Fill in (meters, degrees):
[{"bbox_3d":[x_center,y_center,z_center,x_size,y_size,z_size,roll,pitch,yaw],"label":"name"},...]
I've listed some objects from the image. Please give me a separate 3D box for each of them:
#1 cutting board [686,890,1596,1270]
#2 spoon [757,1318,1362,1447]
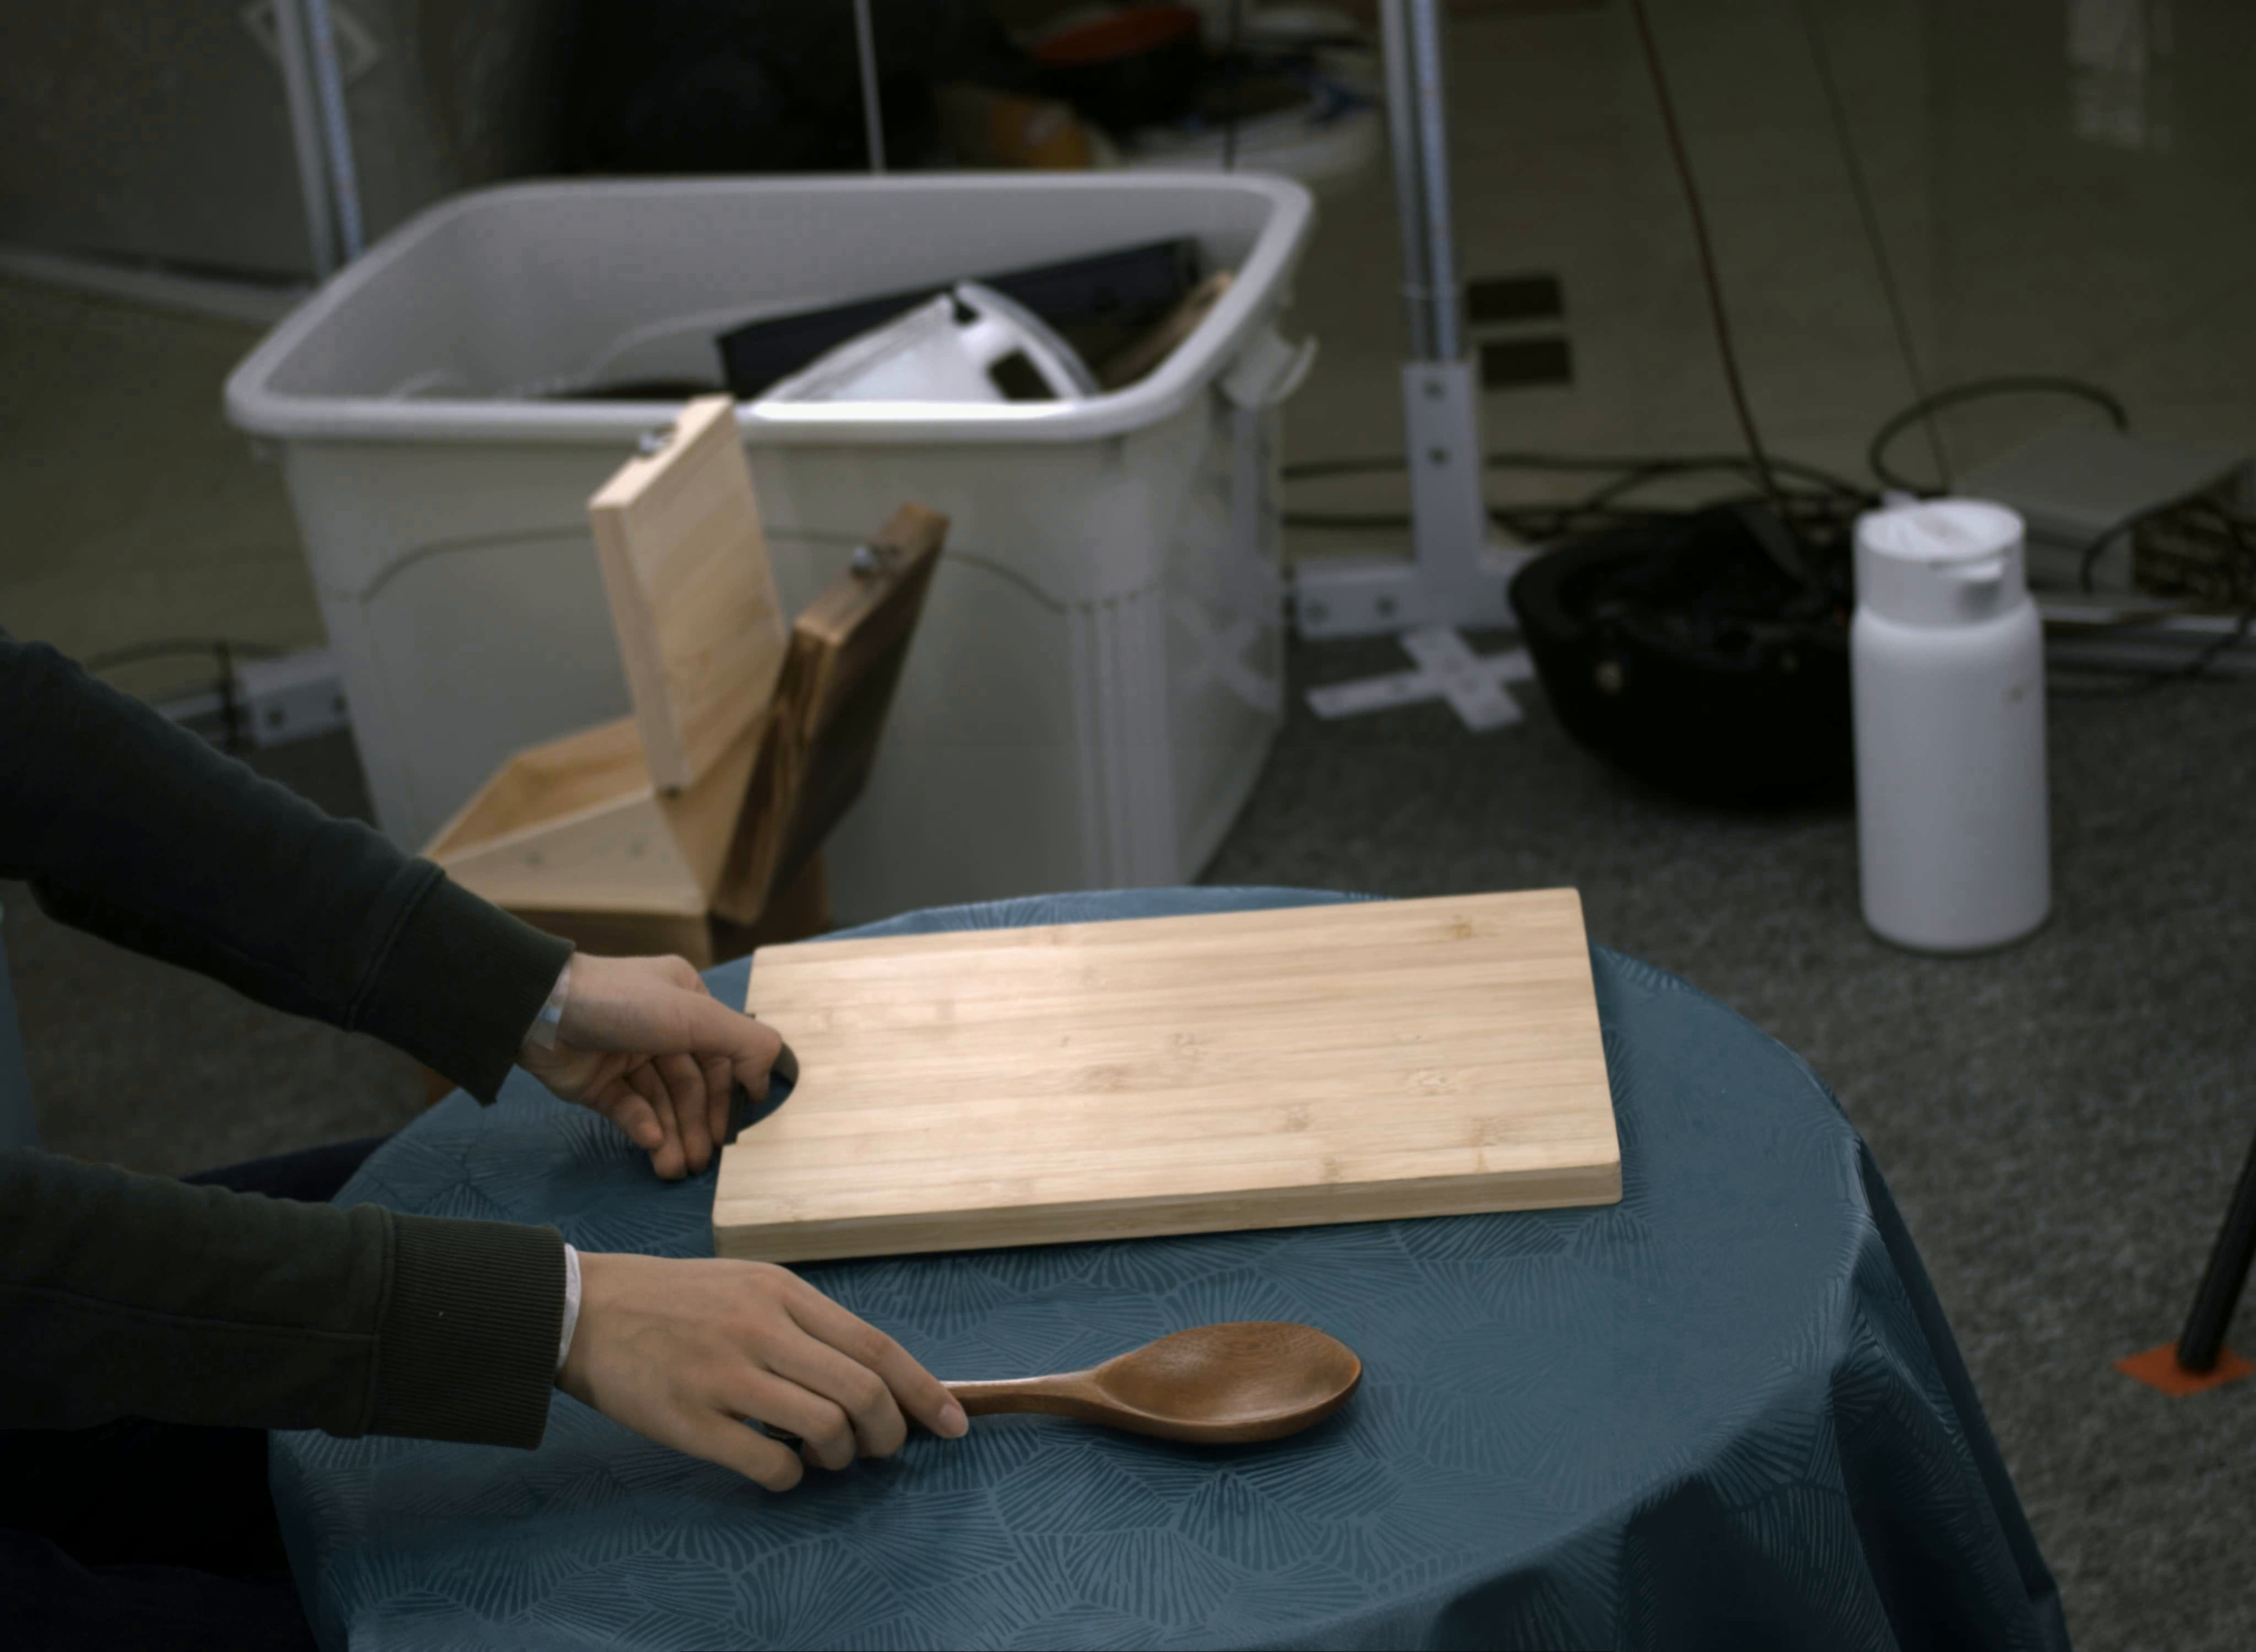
[{"bbox_3d":[0.008,0.097,2.216,0.348,0.024,0.247,-5,24,2],"label":"cutting board"},{"bbox_3d":[-0.024,0.201,2.005,0.215,0.017,0.074,-3,27,7],"label":"spoon"}]
